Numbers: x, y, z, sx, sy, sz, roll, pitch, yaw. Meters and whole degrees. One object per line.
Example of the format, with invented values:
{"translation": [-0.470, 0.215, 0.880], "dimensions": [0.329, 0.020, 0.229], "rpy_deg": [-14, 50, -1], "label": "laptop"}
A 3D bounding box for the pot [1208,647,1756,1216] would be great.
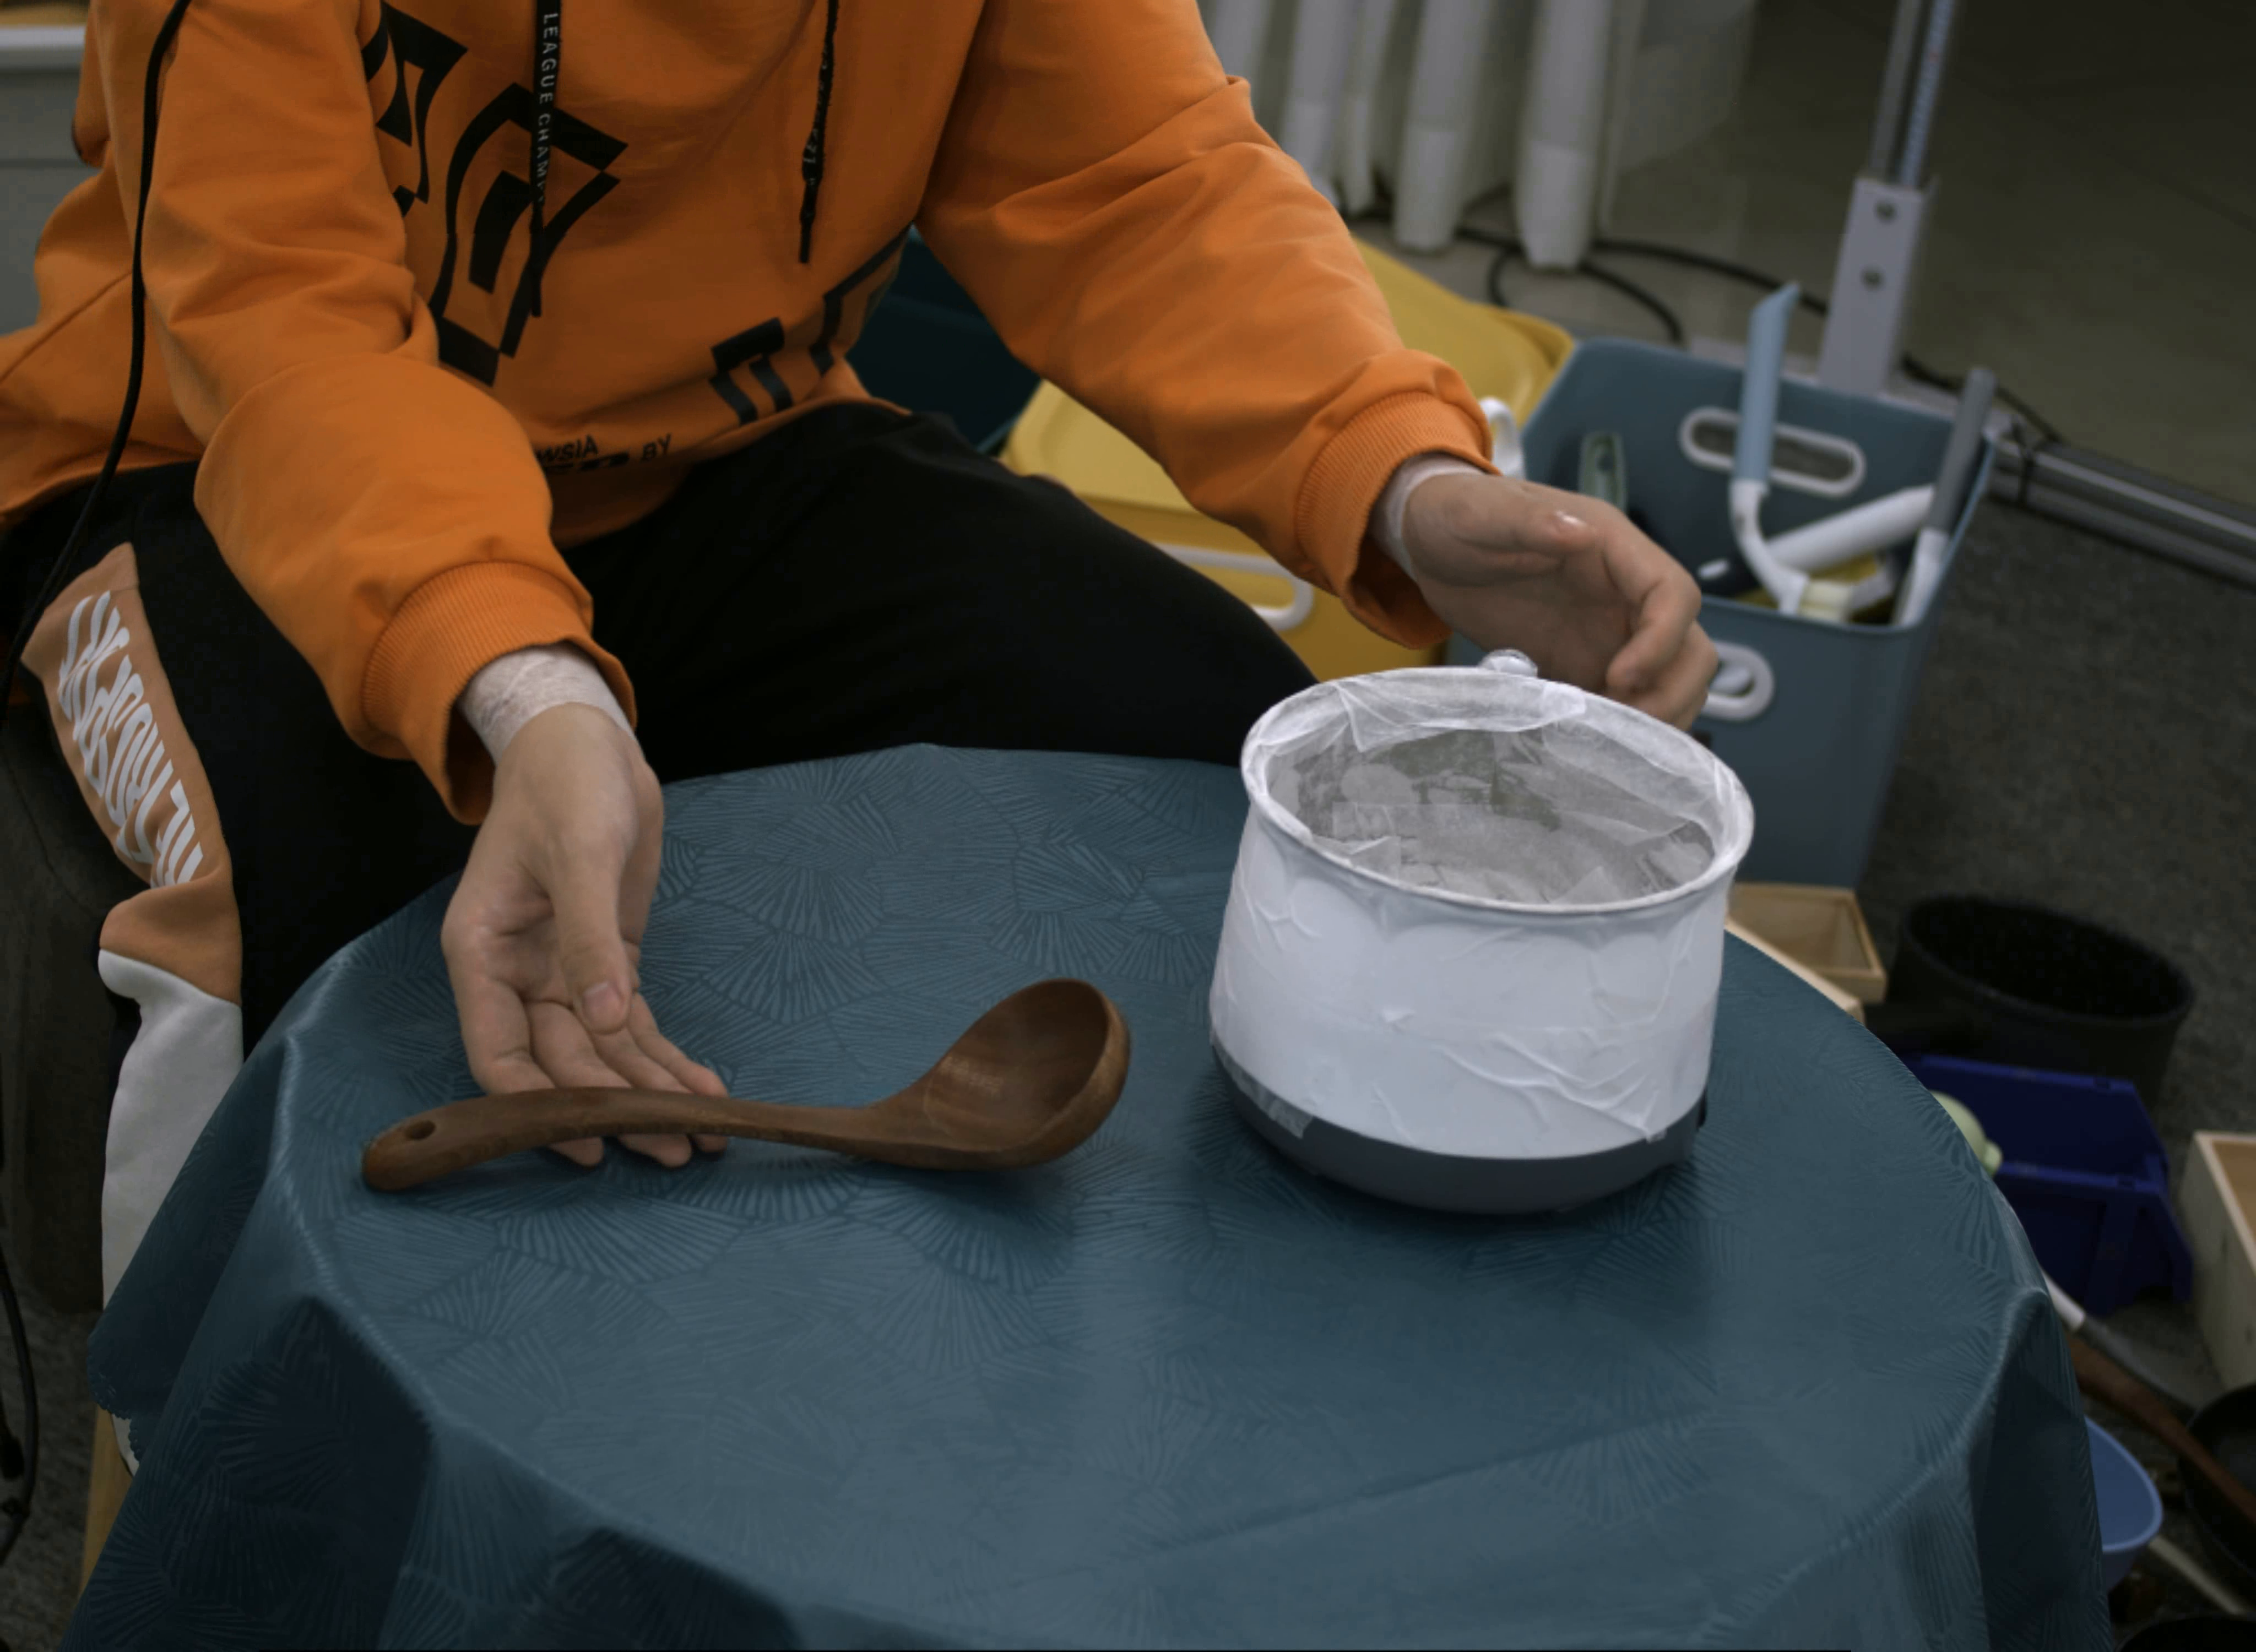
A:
{"translation": [0.121, 0.029, 1.864], "dimensions": [0.178, 0.136, 0.235], "rpy_deg": [8, 27, 1], "label": "pot"}

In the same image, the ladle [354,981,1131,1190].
{"translation": [-0.127, 0.088, 1.775], "dimensions": [0.259, 0.065, 0.077], "rpy_deg": [0, 25, -14], "label": "ladle"}
